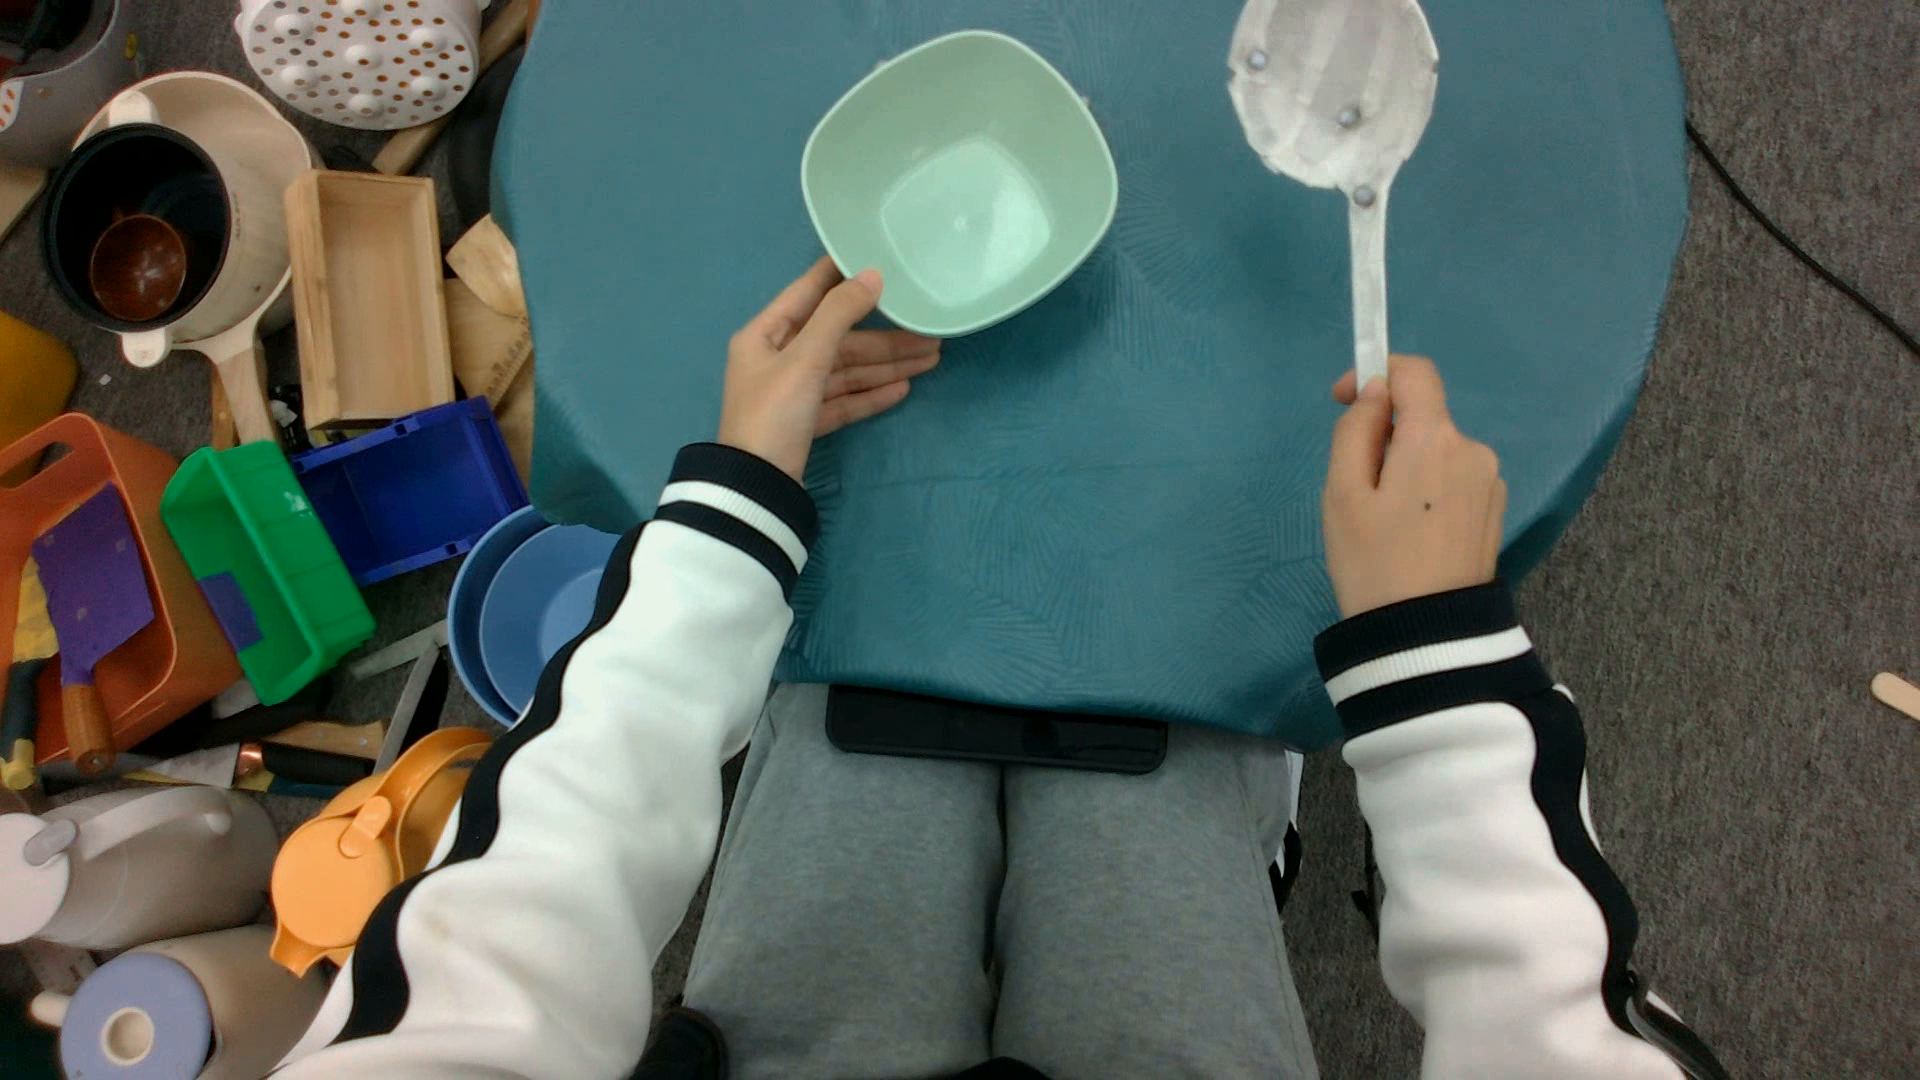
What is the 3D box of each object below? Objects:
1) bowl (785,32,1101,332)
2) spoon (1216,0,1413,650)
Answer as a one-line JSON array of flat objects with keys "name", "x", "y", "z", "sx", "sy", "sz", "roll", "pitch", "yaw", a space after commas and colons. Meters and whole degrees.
[{"name": "bowl", "x": -0.007, "y": -0.167, "z": 0.678, "sx": 0.151, "sy": 0.058, "sz": 0.151, "roll": -1, "pitch": 80, "yaw": 4}, {"name": "spoon", "x": 0.140, "y": -0.095, "z": 0.569, "sx": 0.059, "sy": 0.100, "sz": 0.277, "roll": 7, "pitch": 83, "yaw": -28}]
